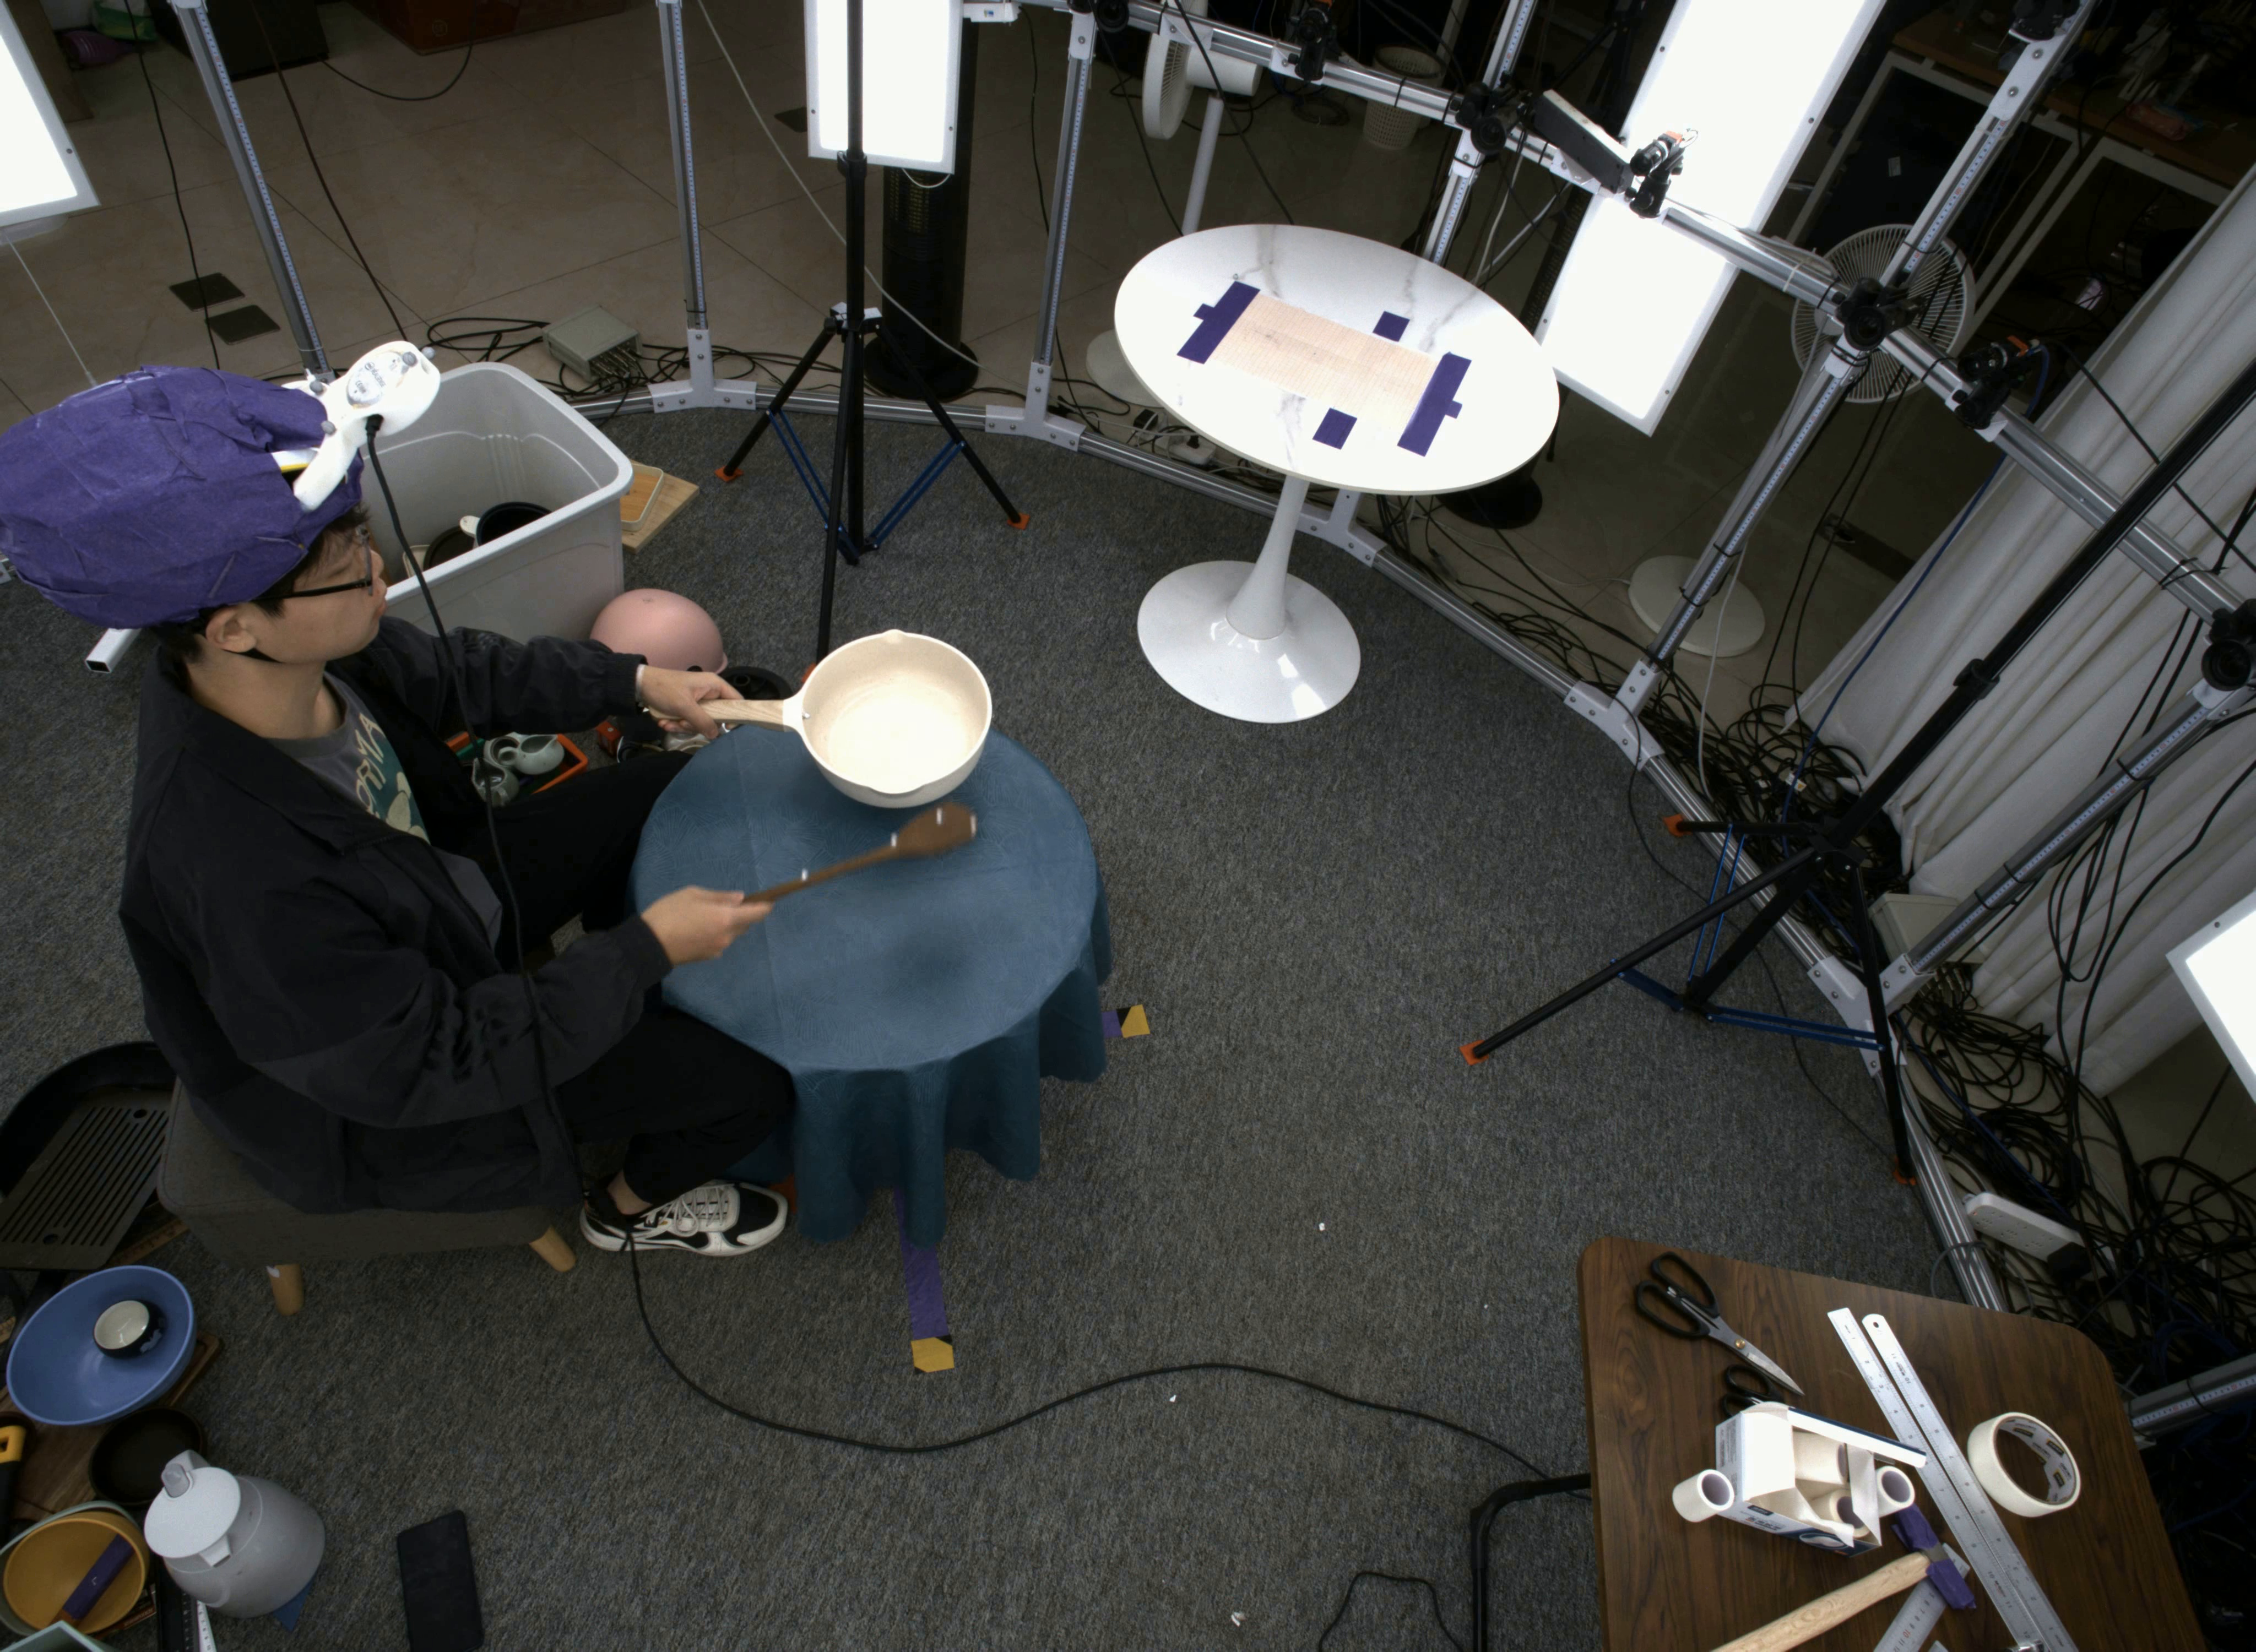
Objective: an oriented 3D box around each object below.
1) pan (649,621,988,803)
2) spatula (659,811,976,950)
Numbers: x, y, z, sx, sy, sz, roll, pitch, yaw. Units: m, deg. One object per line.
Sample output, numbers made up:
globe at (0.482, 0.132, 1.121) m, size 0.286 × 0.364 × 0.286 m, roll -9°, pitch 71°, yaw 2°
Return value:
pan at (-0.400, -0.140, 1.704) m, size 0.433 × 0.104 × 0.259 m, roll -3°, pitch 62°, yaw -10°
spatula at (-0.357, 0.064, 1.506) m, size 0.387 × 0.016 × 0.092 m, roll -21°, pitch 37°, yaw -24°
